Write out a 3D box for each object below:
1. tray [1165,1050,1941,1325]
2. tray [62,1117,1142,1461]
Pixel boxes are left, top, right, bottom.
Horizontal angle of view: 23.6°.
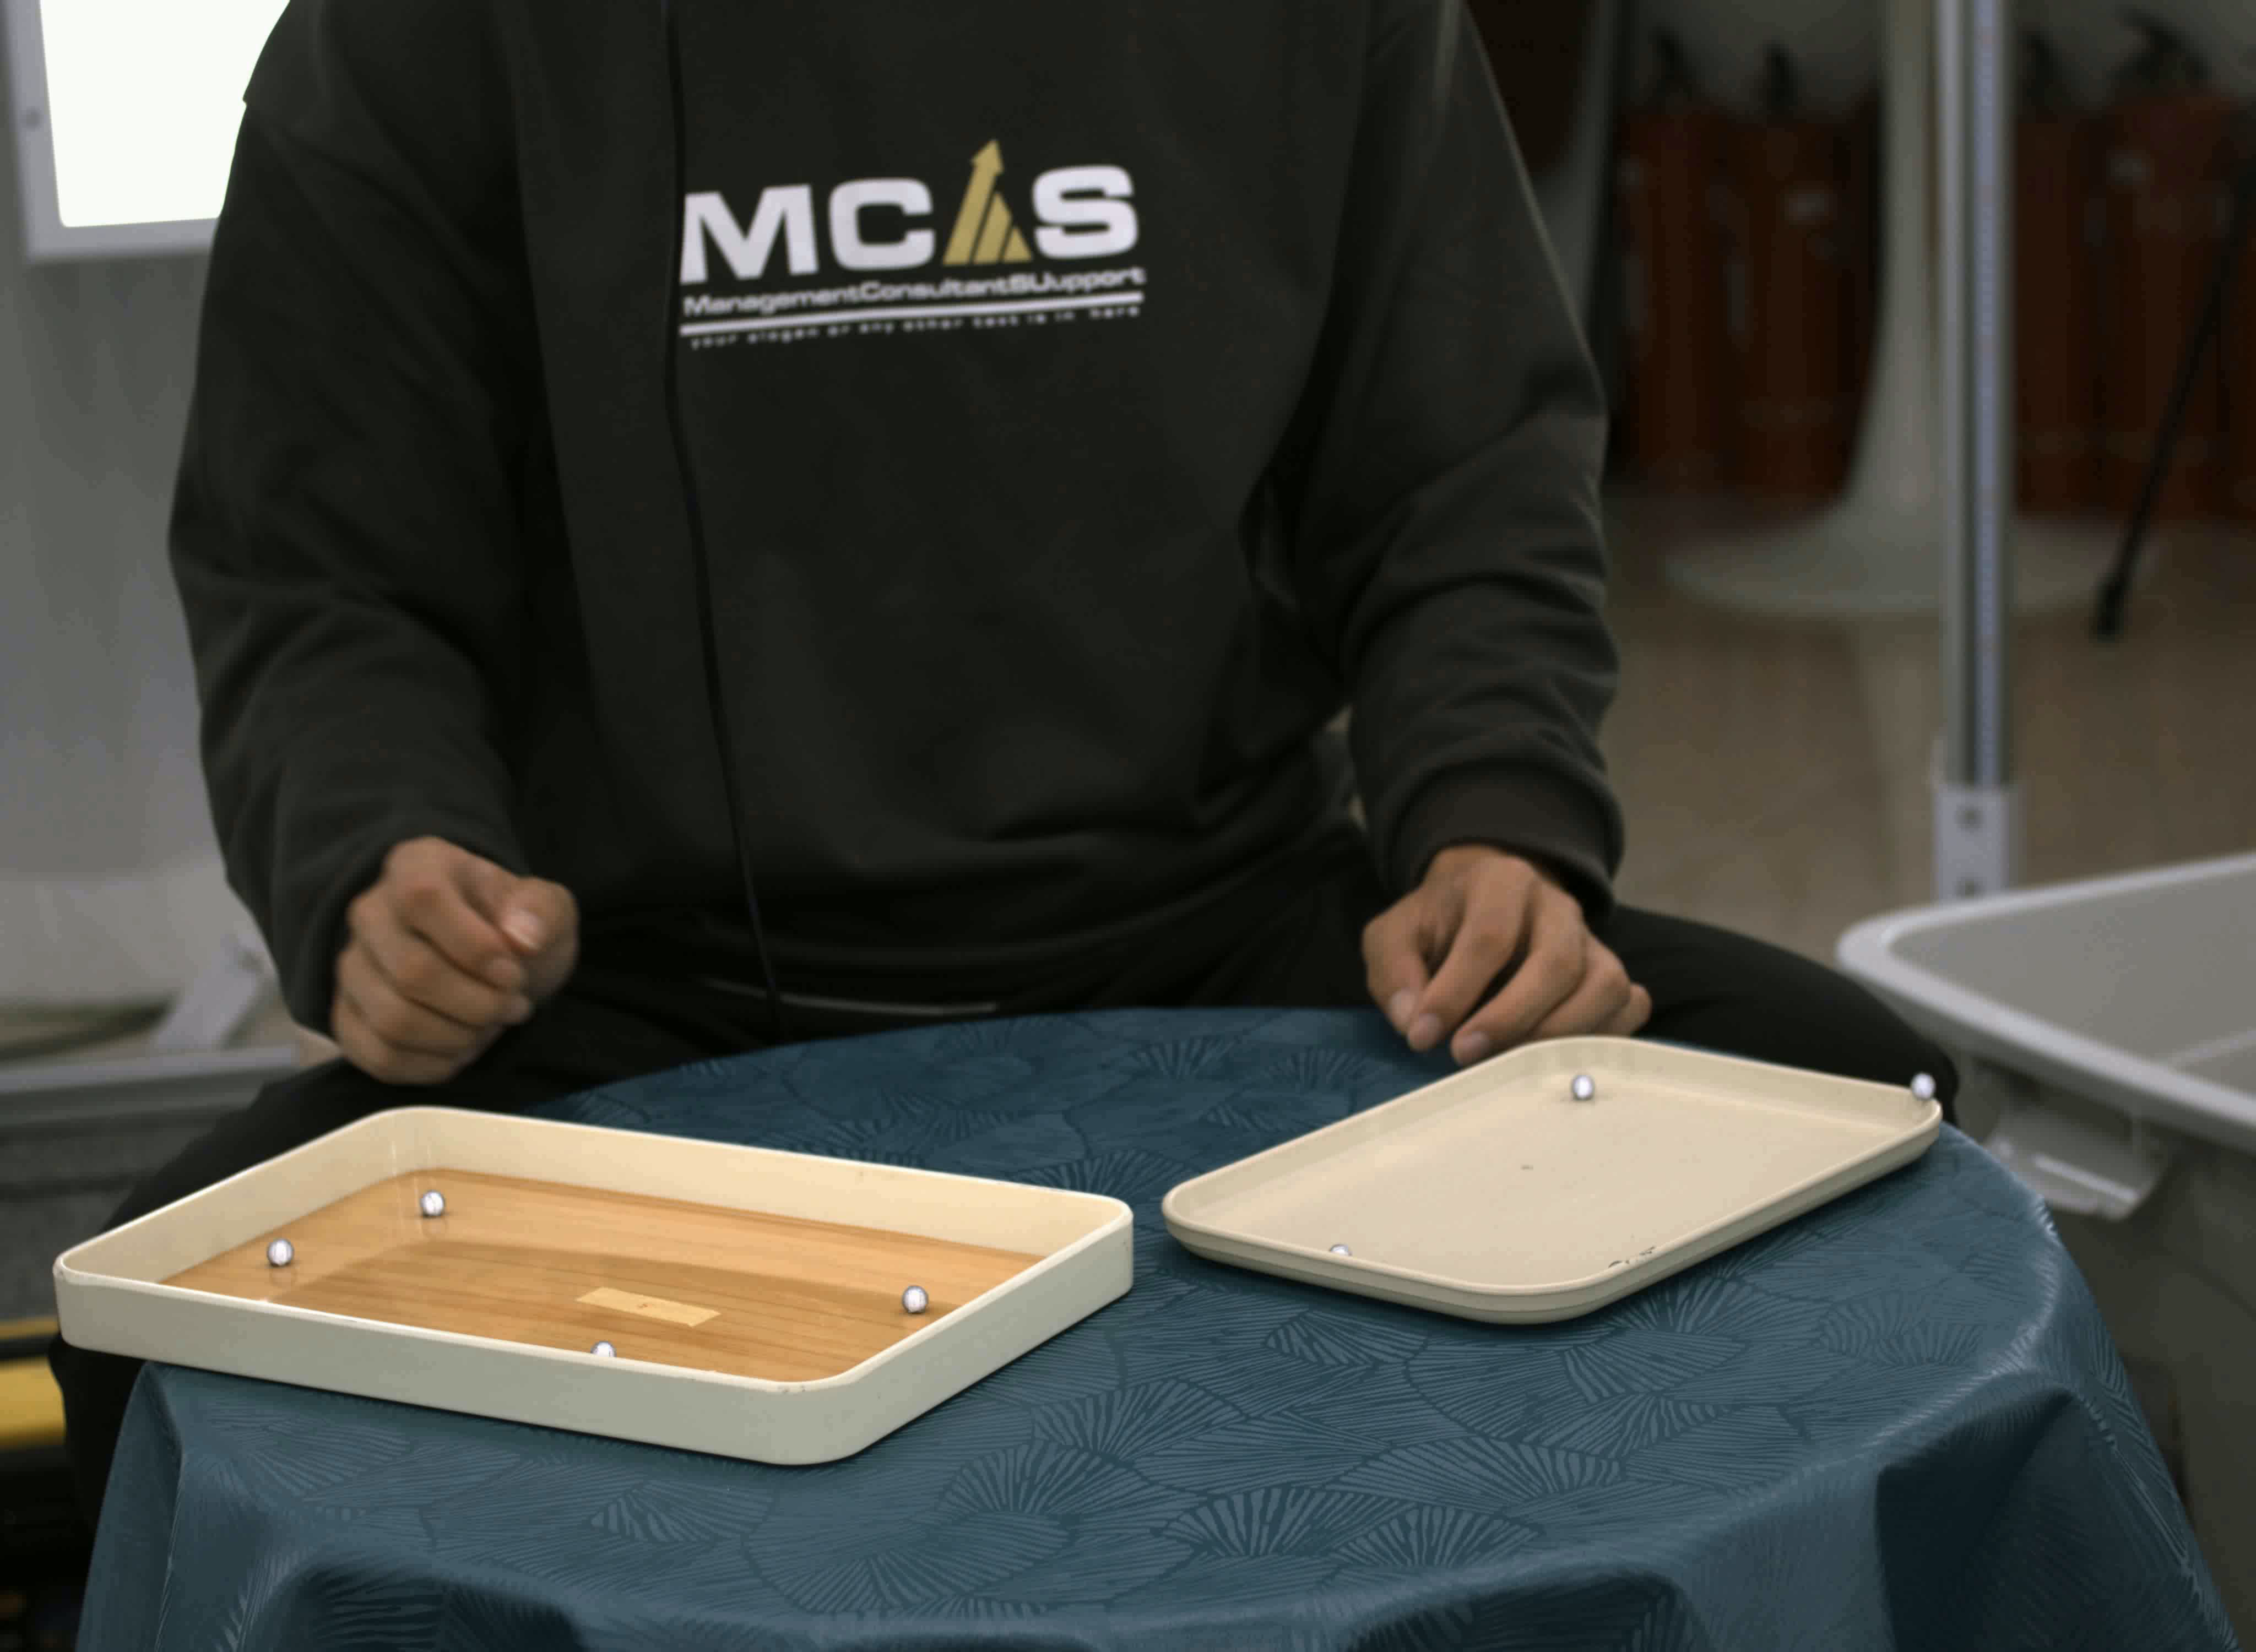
[{"bbox_3d":[0.139,0.115,1.730,0.173,0.017,0.235,7,17,42],"label":"tray"},{"bbox_3d":[-0.163,0.141,1.684,0.301,0.028,0.188,5,15,32],"label":"tray"}]
